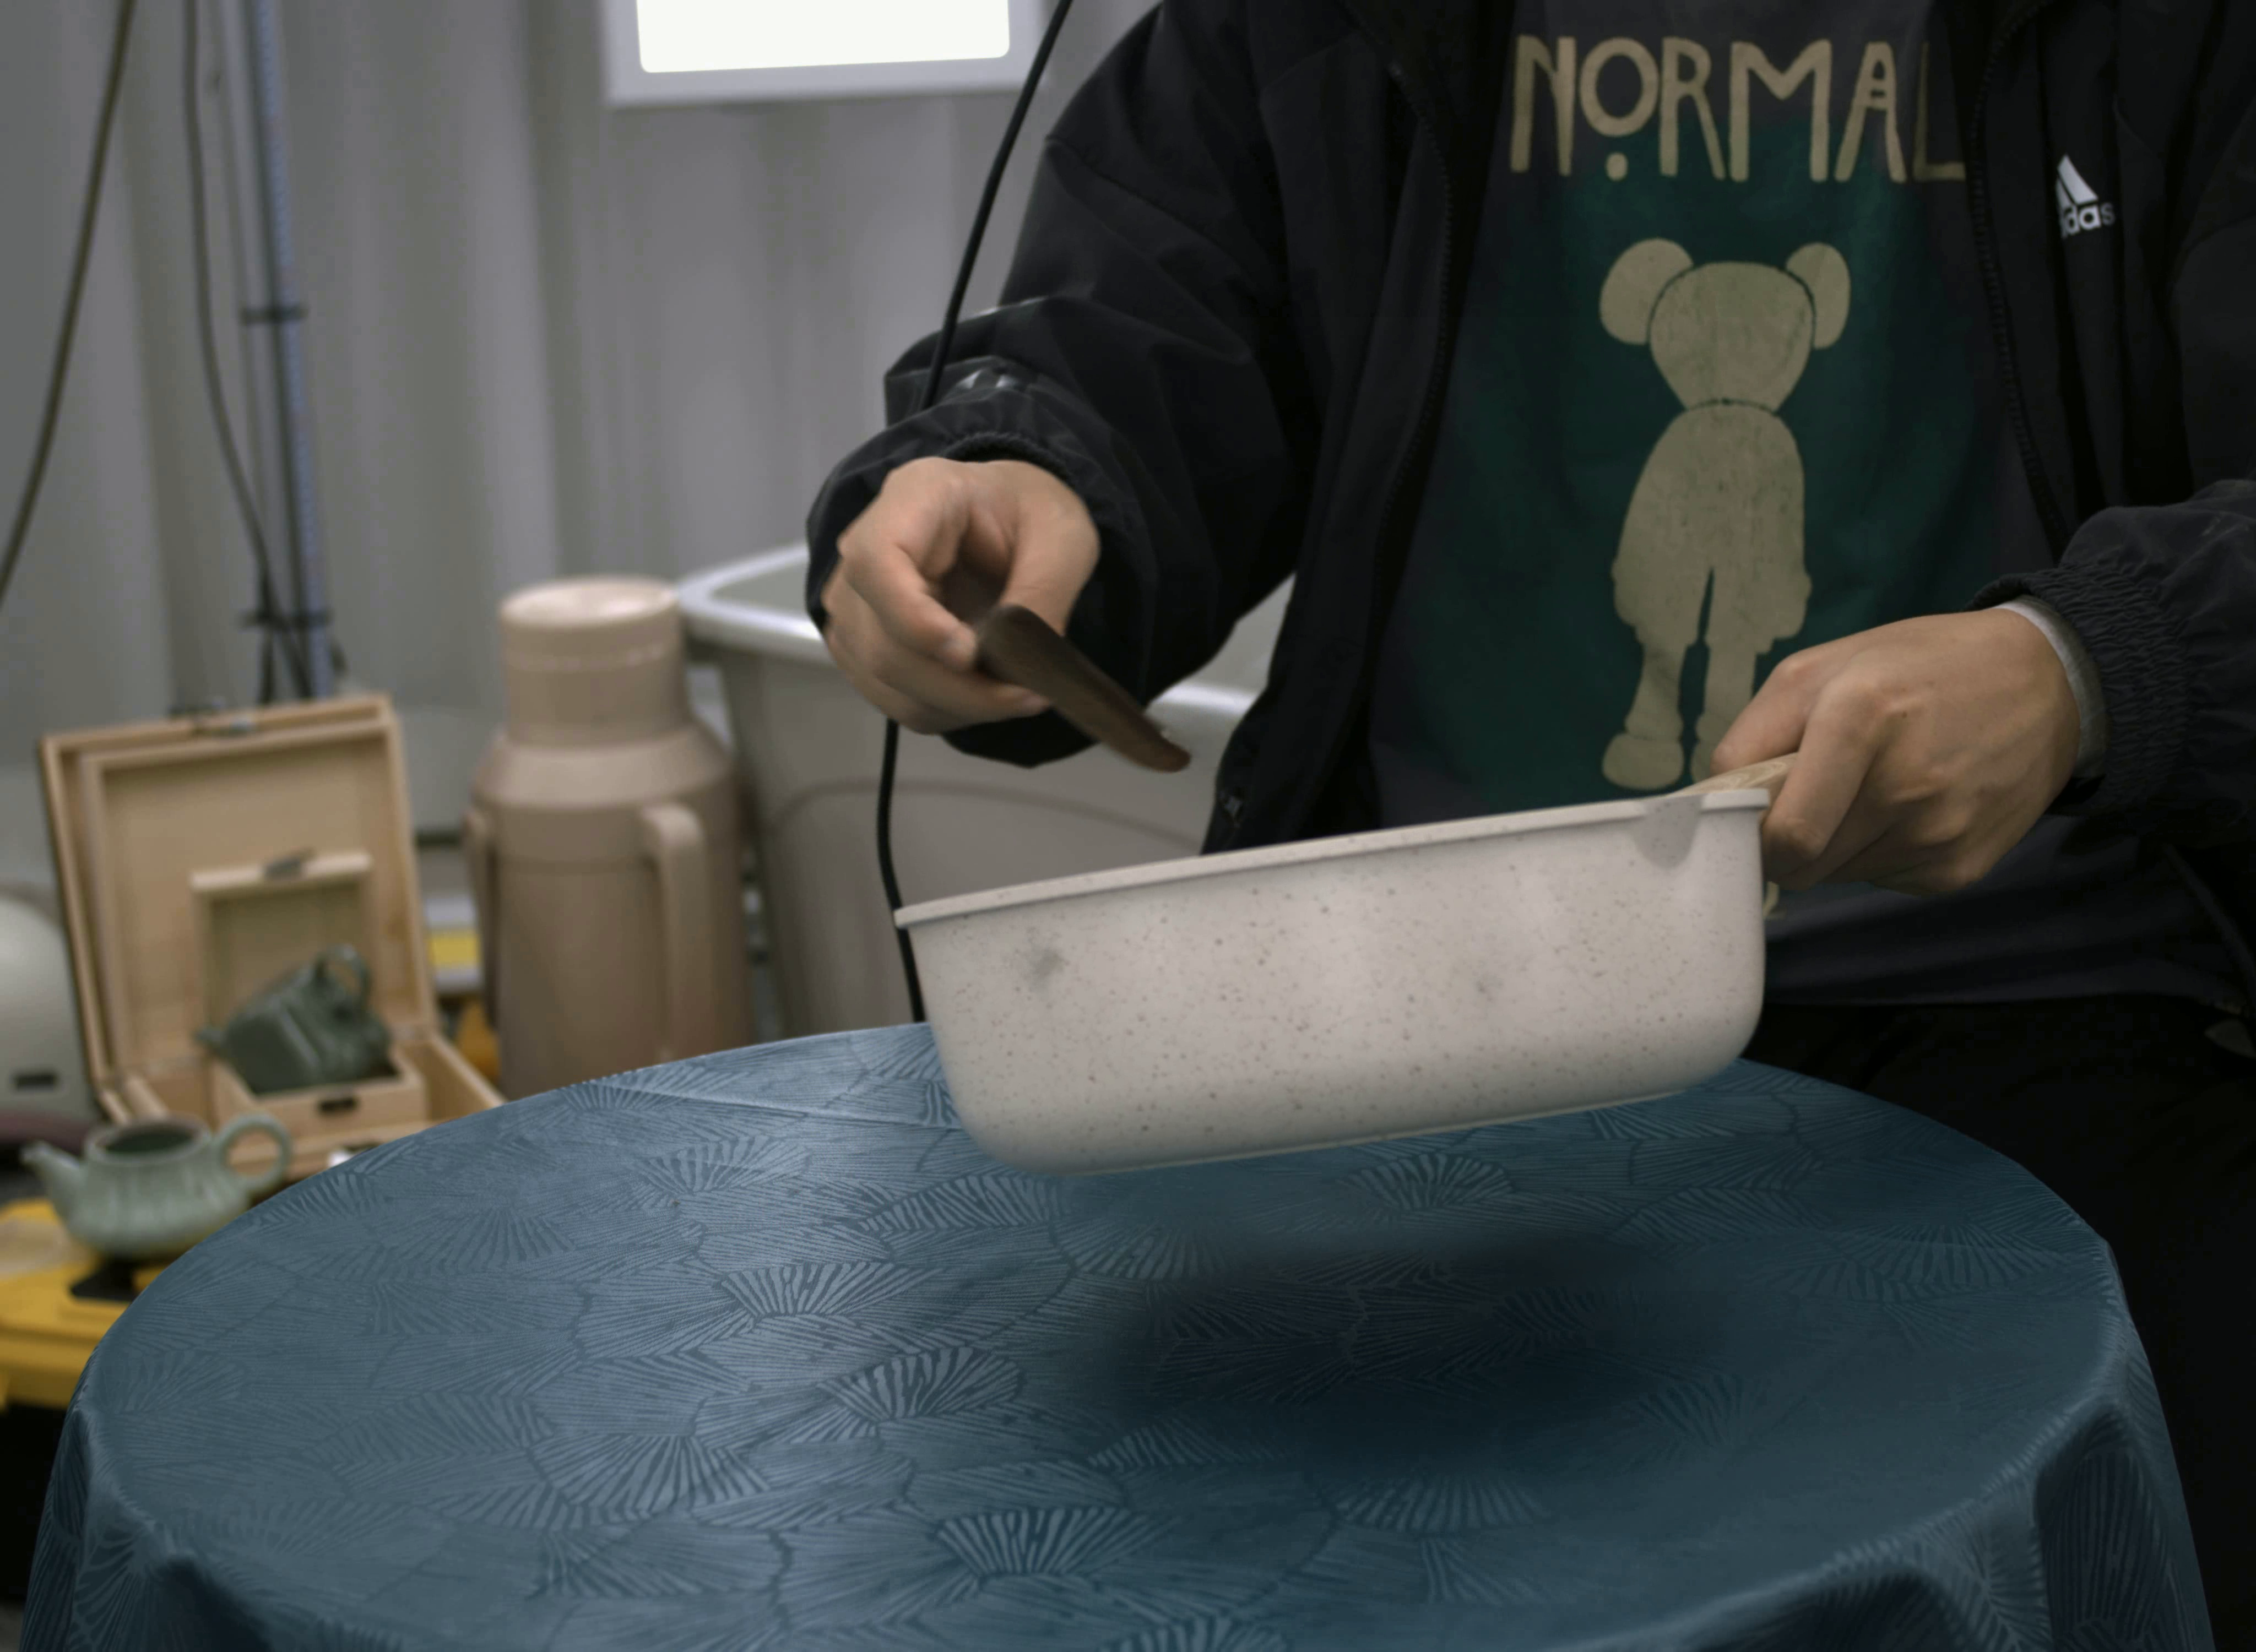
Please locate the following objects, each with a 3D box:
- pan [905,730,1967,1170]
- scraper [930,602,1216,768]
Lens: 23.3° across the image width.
[{"bbox_3d":[0.127,0.032,1.618,0.263,0.102,0.432,-12,-5,43],"label":"pan"},{"bbox_3d":[-0.029,-0.049,1.697,0.075,0.011,0.212,38,-4,-15],"label":"scraper"}]
